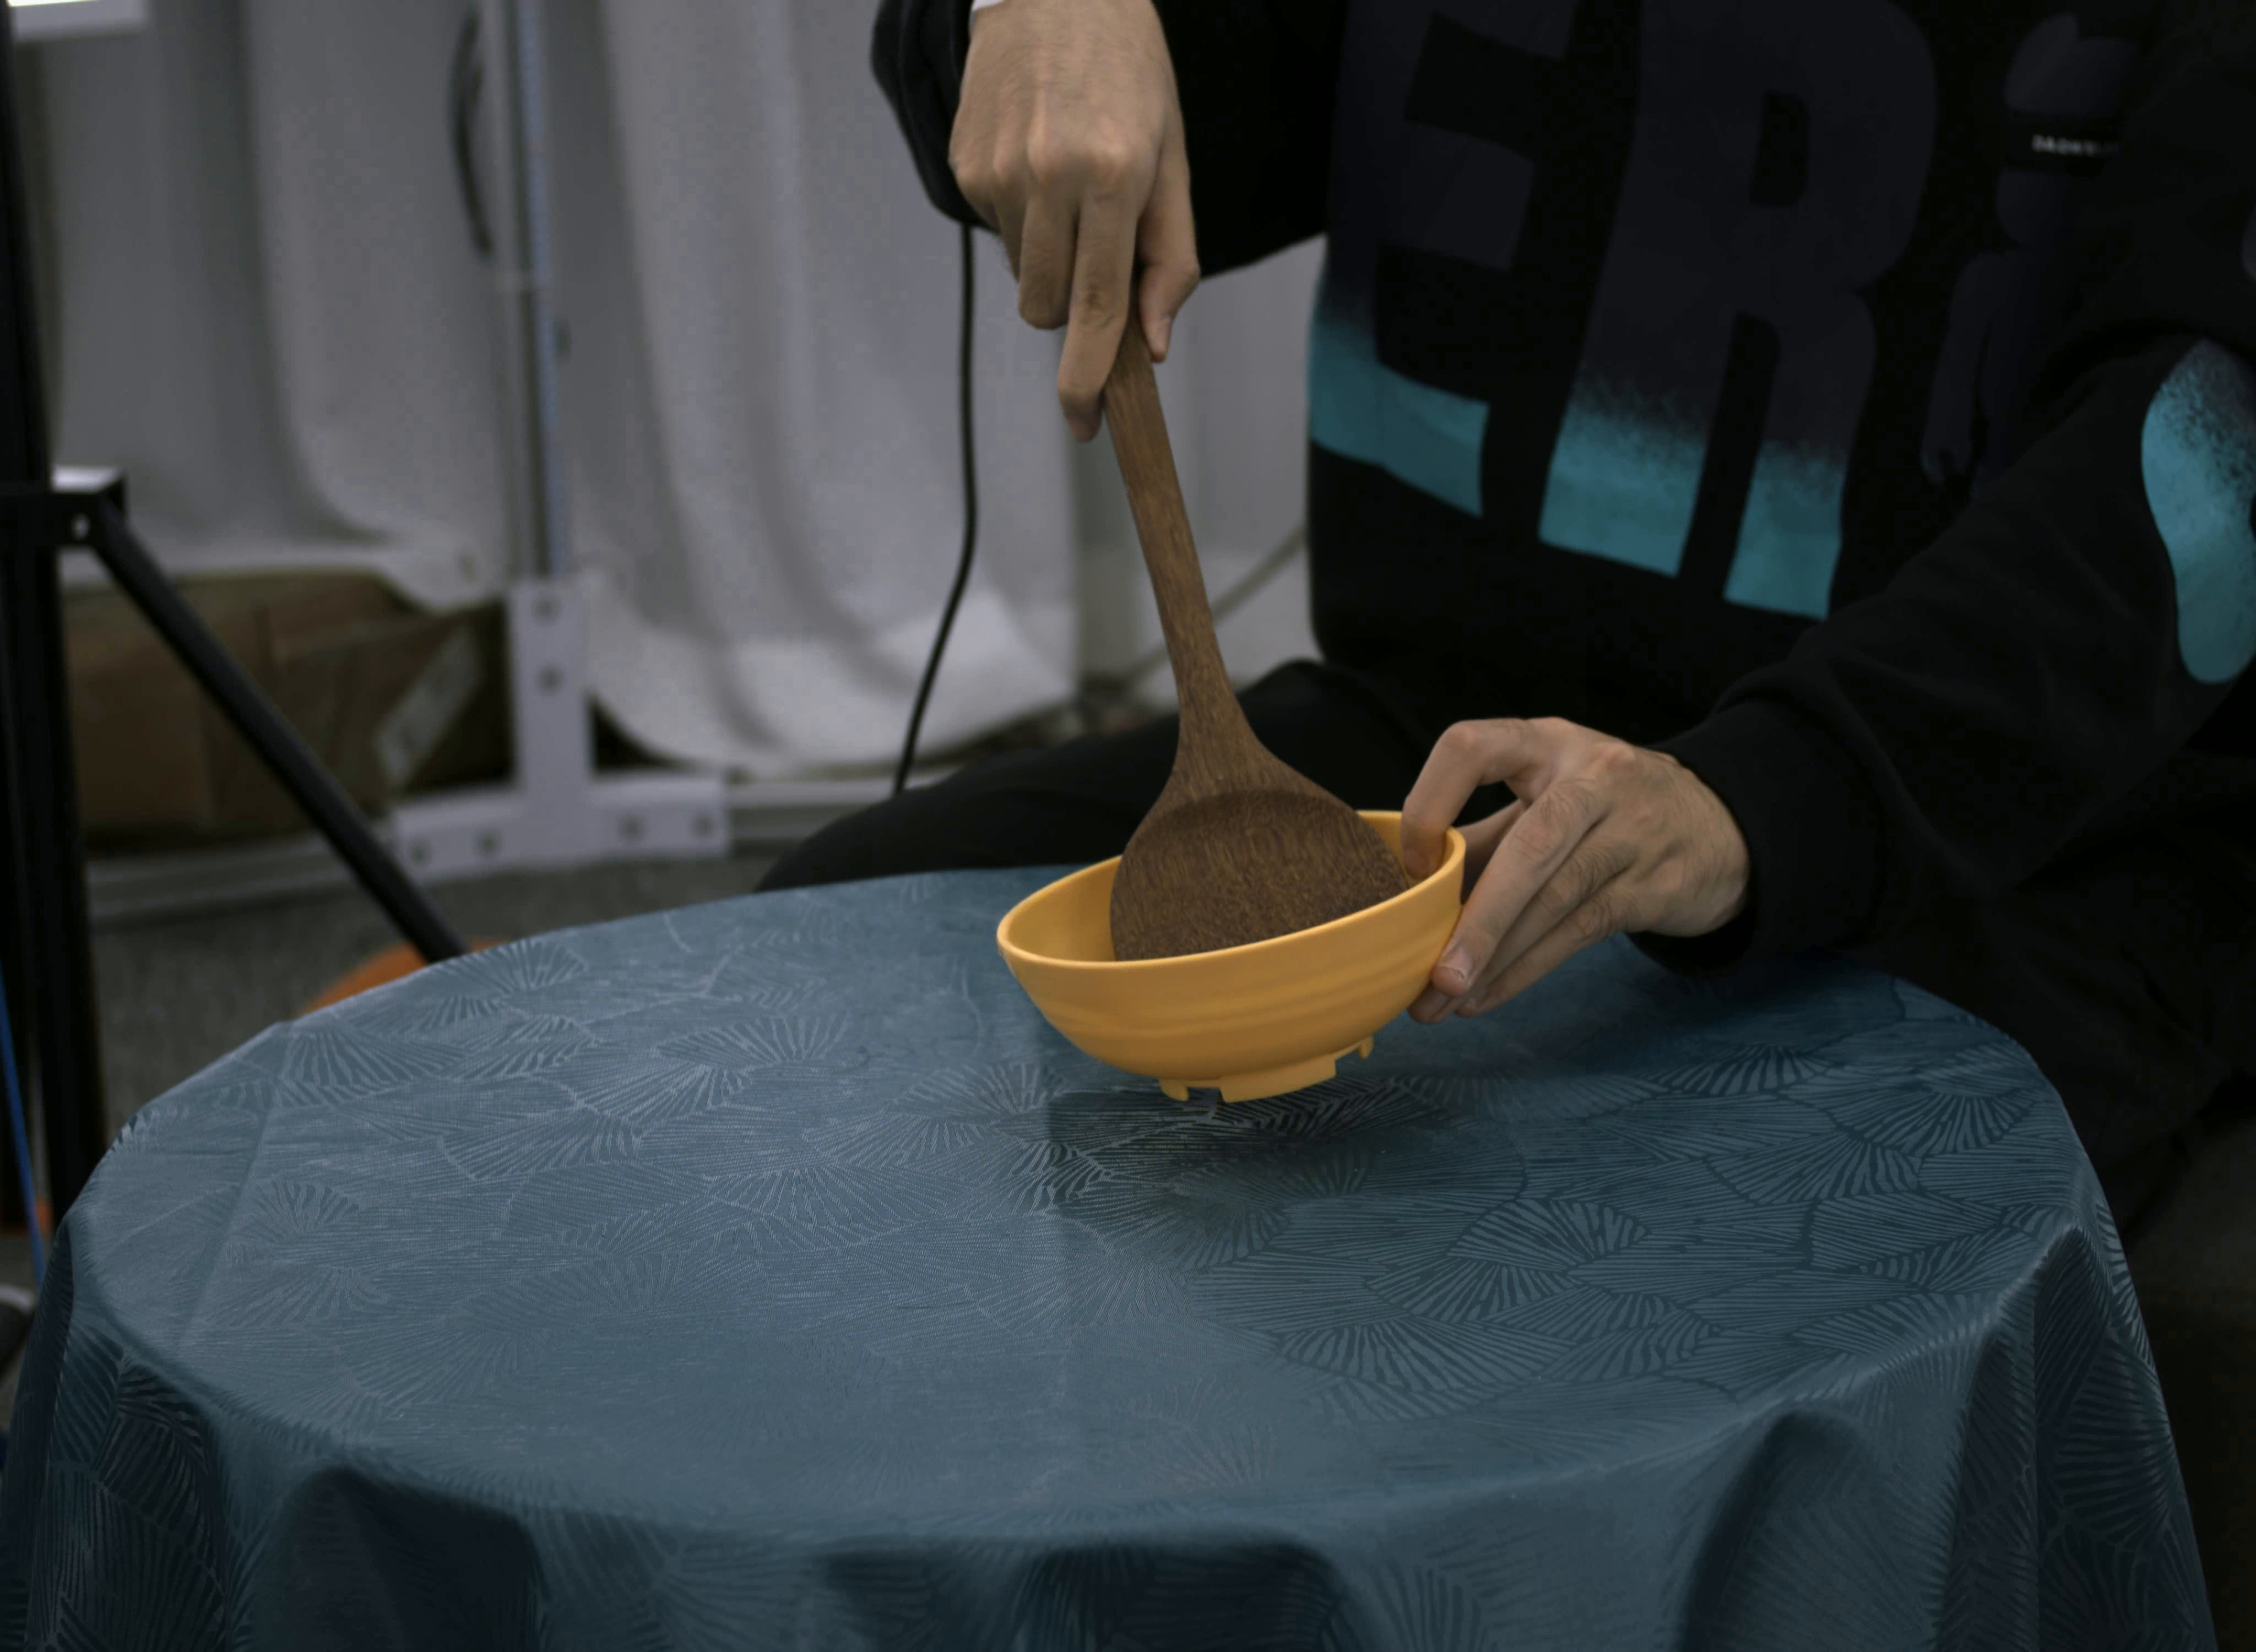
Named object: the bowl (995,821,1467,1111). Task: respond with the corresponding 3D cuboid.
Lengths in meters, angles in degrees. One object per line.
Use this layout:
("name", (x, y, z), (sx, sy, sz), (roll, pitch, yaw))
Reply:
("bowl", (0.035, 0.048, 1.610), (0.145, 0.060, 0.146), (-10, 14, 1))

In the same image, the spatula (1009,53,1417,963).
("spatula", (0.010, -0.098, 1.699), (0.095, 0.015, 0.392), (-11, 59, -4))
